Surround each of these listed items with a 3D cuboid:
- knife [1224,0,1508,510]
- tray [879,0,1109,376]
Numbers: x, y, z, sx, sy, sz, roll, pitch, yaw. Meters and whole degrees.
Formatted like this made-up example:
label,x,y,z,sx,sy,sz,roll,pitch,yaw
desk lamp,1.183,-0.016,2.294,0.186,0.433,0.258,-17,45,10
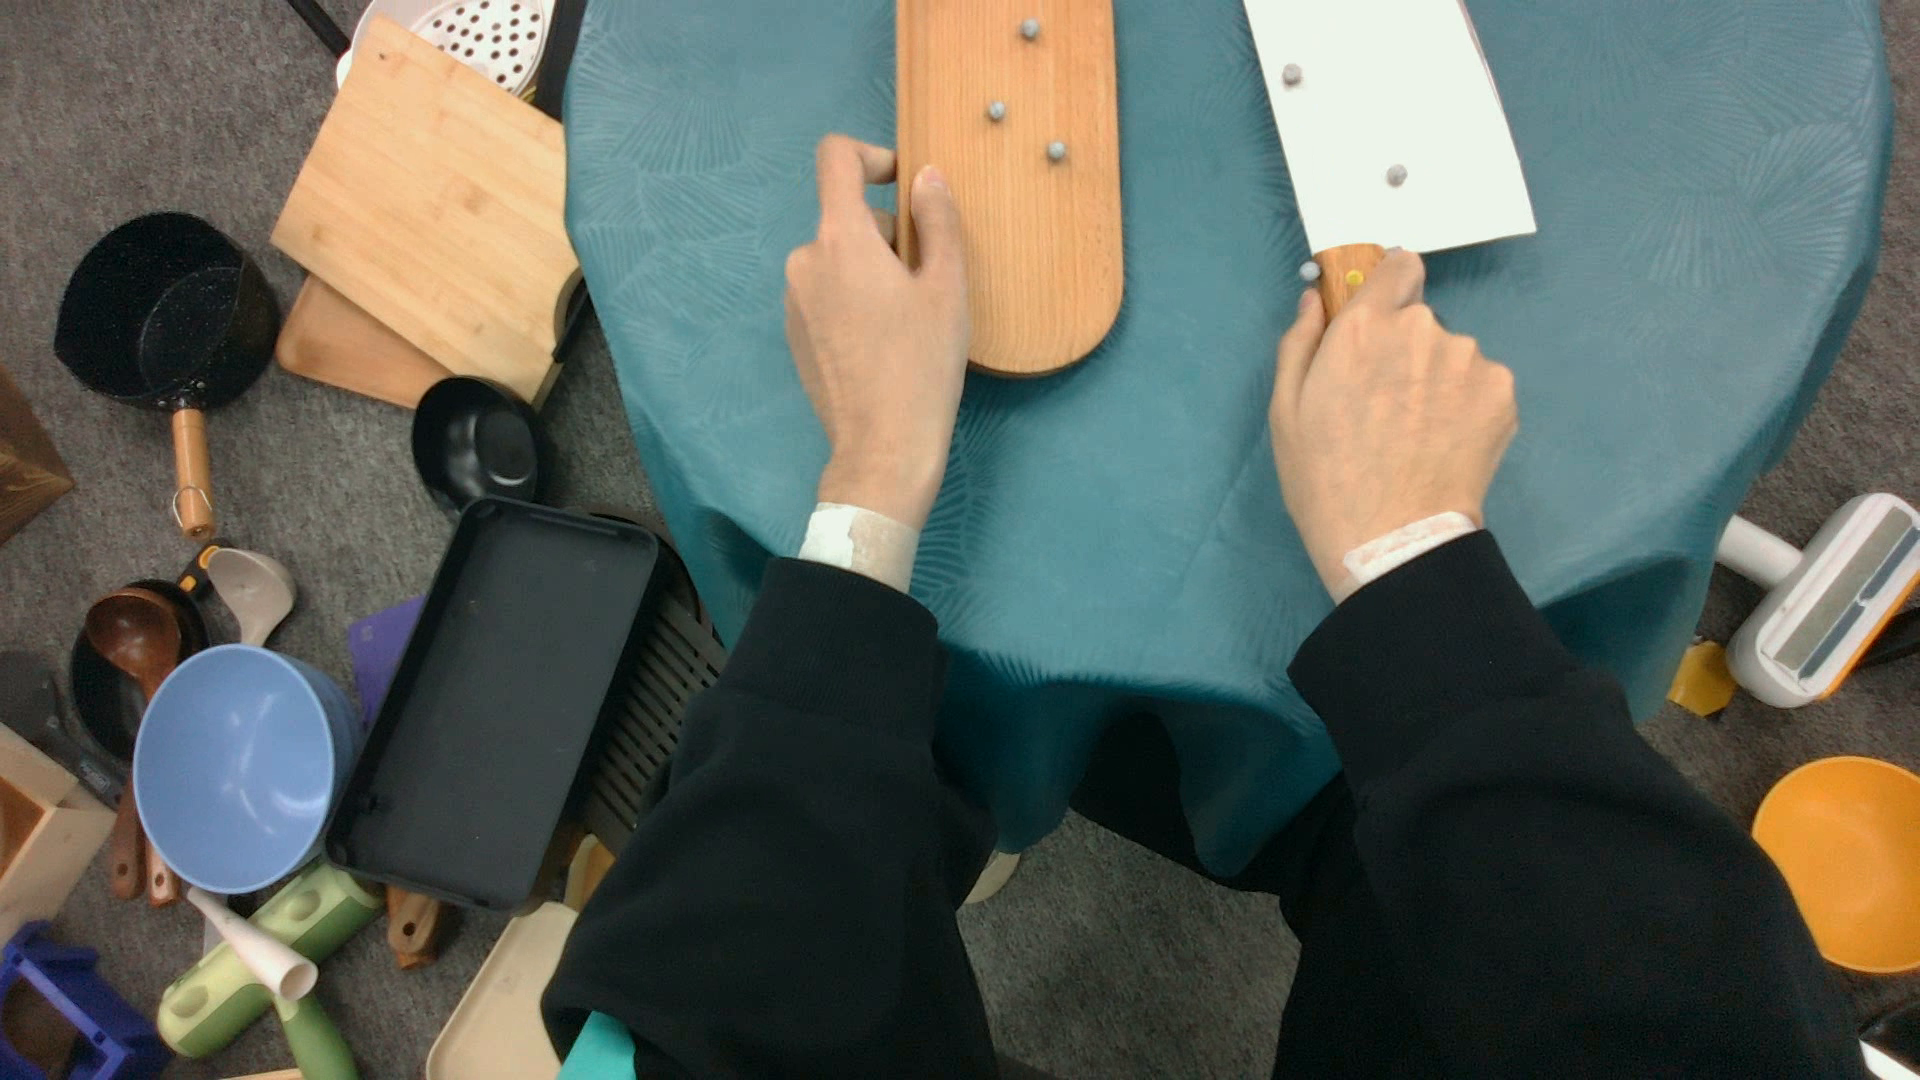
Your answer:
label,x,y,z,sx,sy,sz,roll,pitch,yaw
knife,0.179,-0.158,0.590,0.093,0.021,0.306,-10,66,5
tray,0.015,-0.181,0.617,0.102,0.020,0.231,3,75,-10
